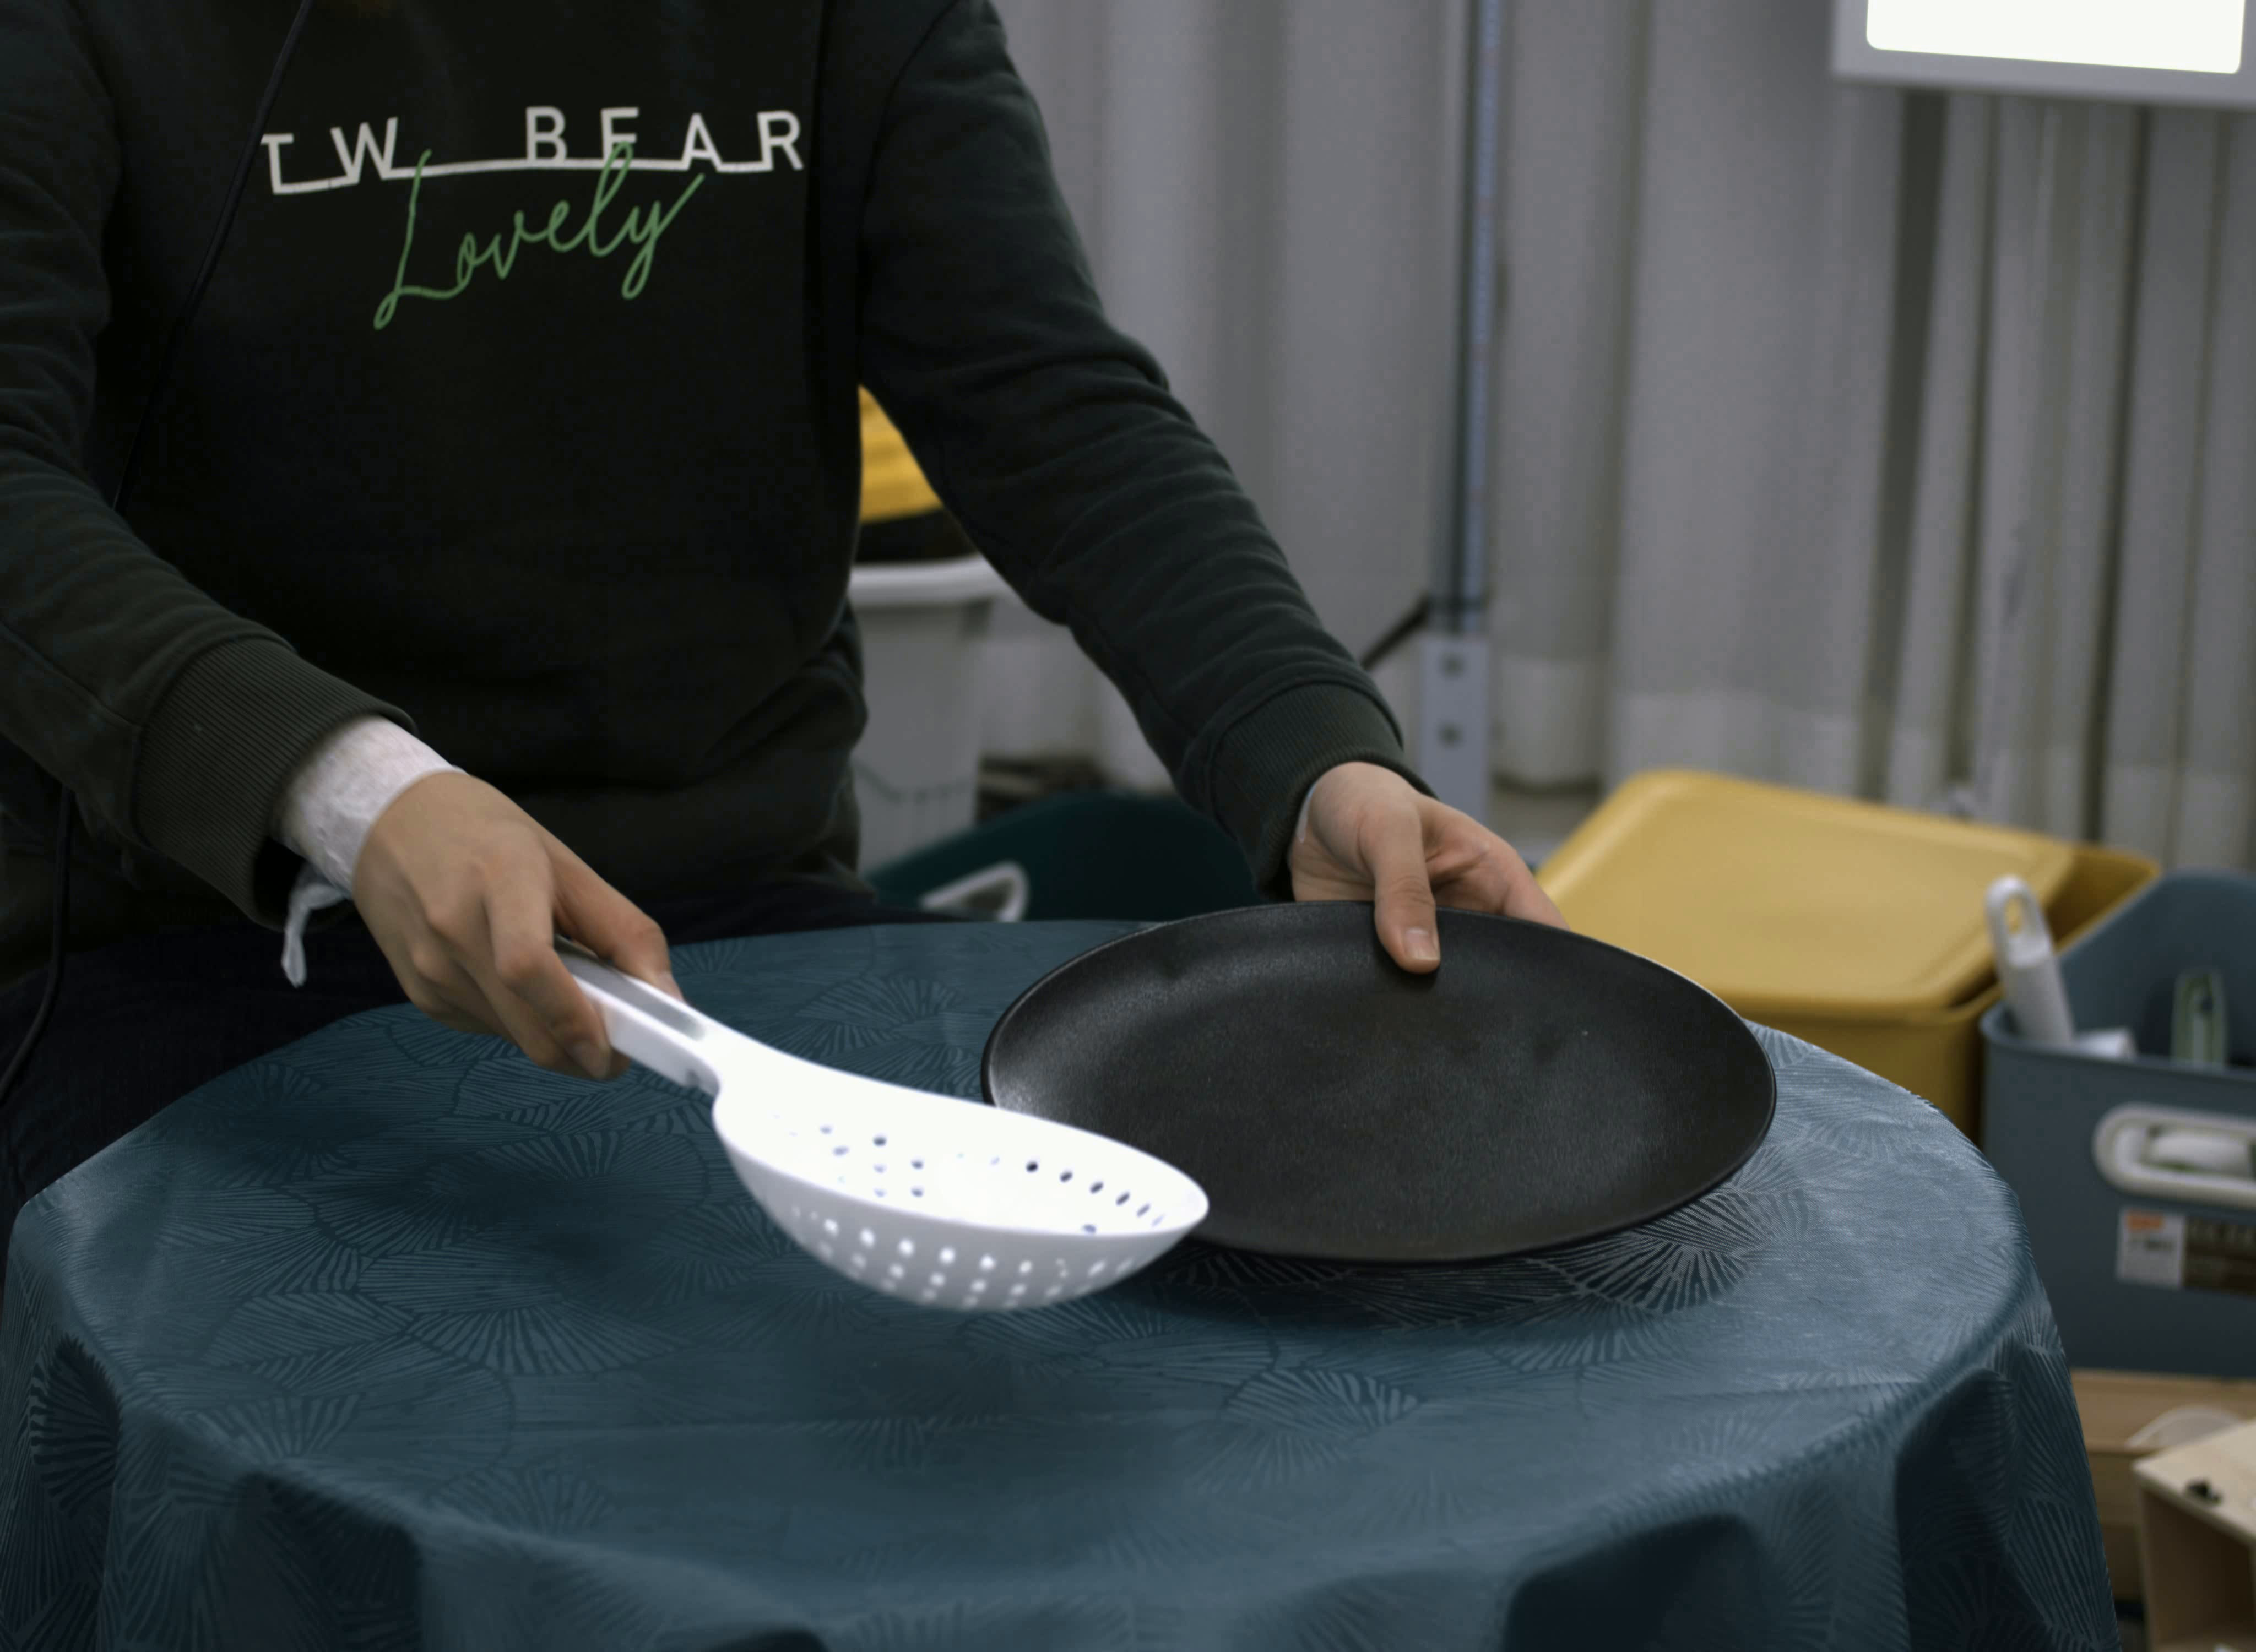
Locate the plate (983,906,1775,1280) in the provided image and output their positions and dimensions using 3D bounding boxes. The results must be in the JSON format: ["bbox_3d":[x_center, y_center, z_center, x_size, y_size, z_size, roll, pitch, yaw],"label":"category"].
[{"bbox_3d":[0.076,0.085,1.617,0.243,0.023,0.242,1,25,0],"label":"plate"}]

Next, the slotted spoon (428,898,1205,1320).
[{"bbox_3d":[-0.109,0.073,1.509,0.137,0.046,0.345,4,17,-38],"label":"slotted spoon"}]
